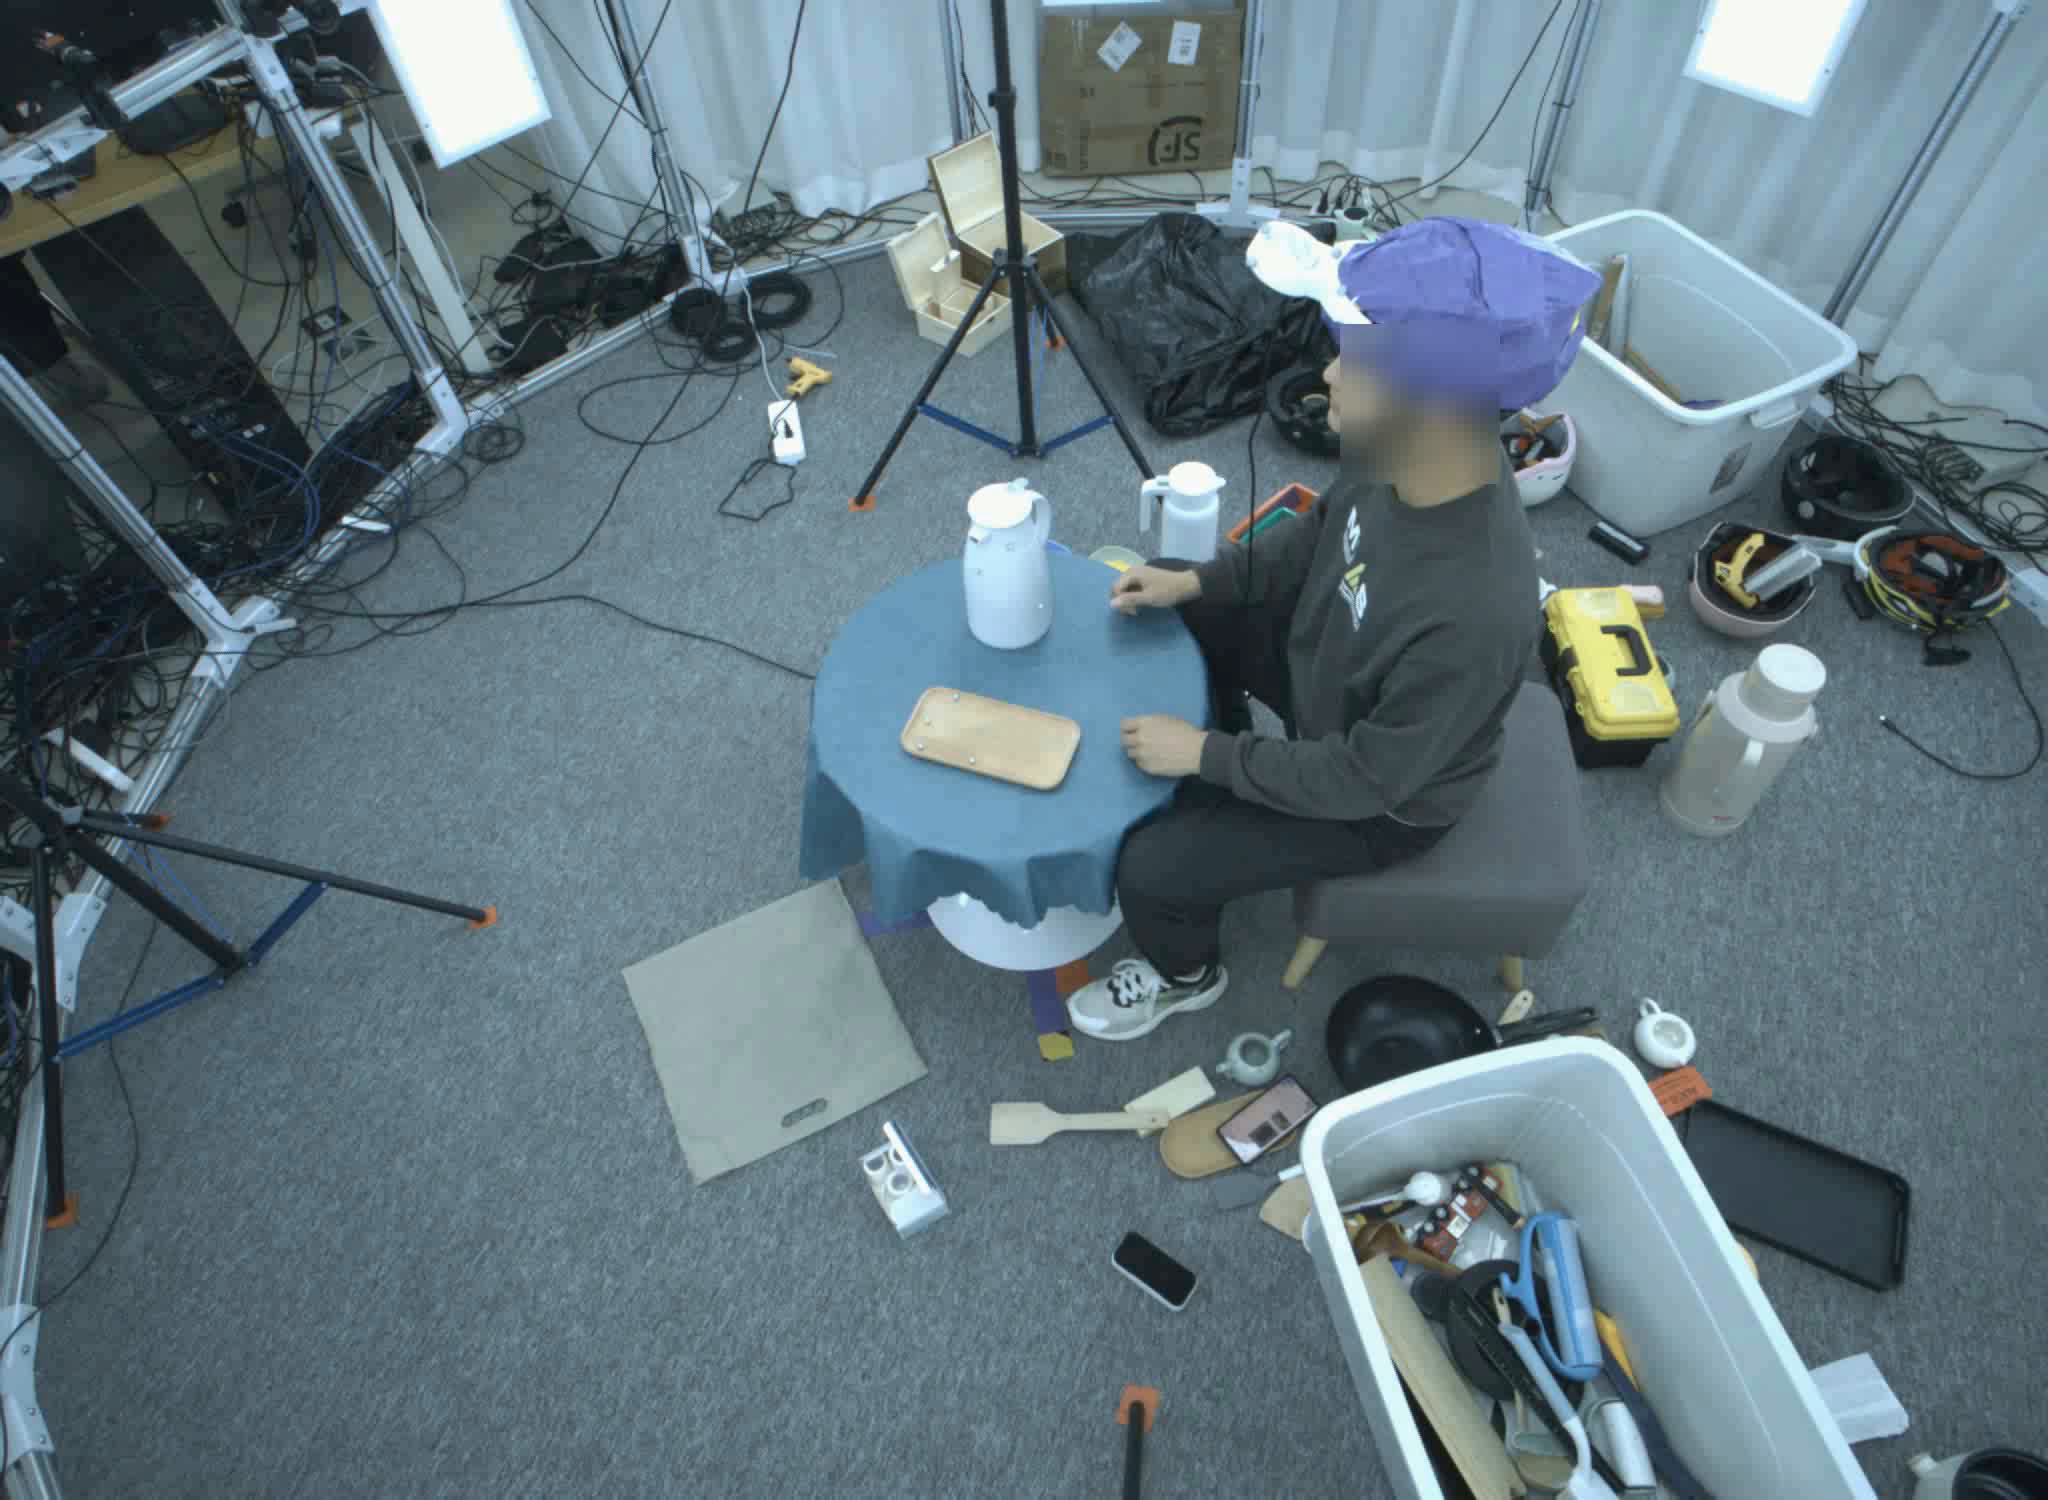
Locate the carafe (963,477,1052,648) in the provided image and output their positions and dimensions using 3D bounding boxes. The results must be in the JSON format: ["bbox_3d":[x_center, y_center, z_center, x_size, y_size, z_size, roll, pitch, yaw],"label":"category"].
[{"bbox_3d":[-0.020,-0.295,1.842,0.130,0.251,0.168,28,60,22],"label":"carafe"}]

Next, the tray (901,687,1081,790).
[{"bbox_3d":[-0.048,-0.018,1.789,0.248,0.023,0.130,16,59,12],"label":"tray"}]
